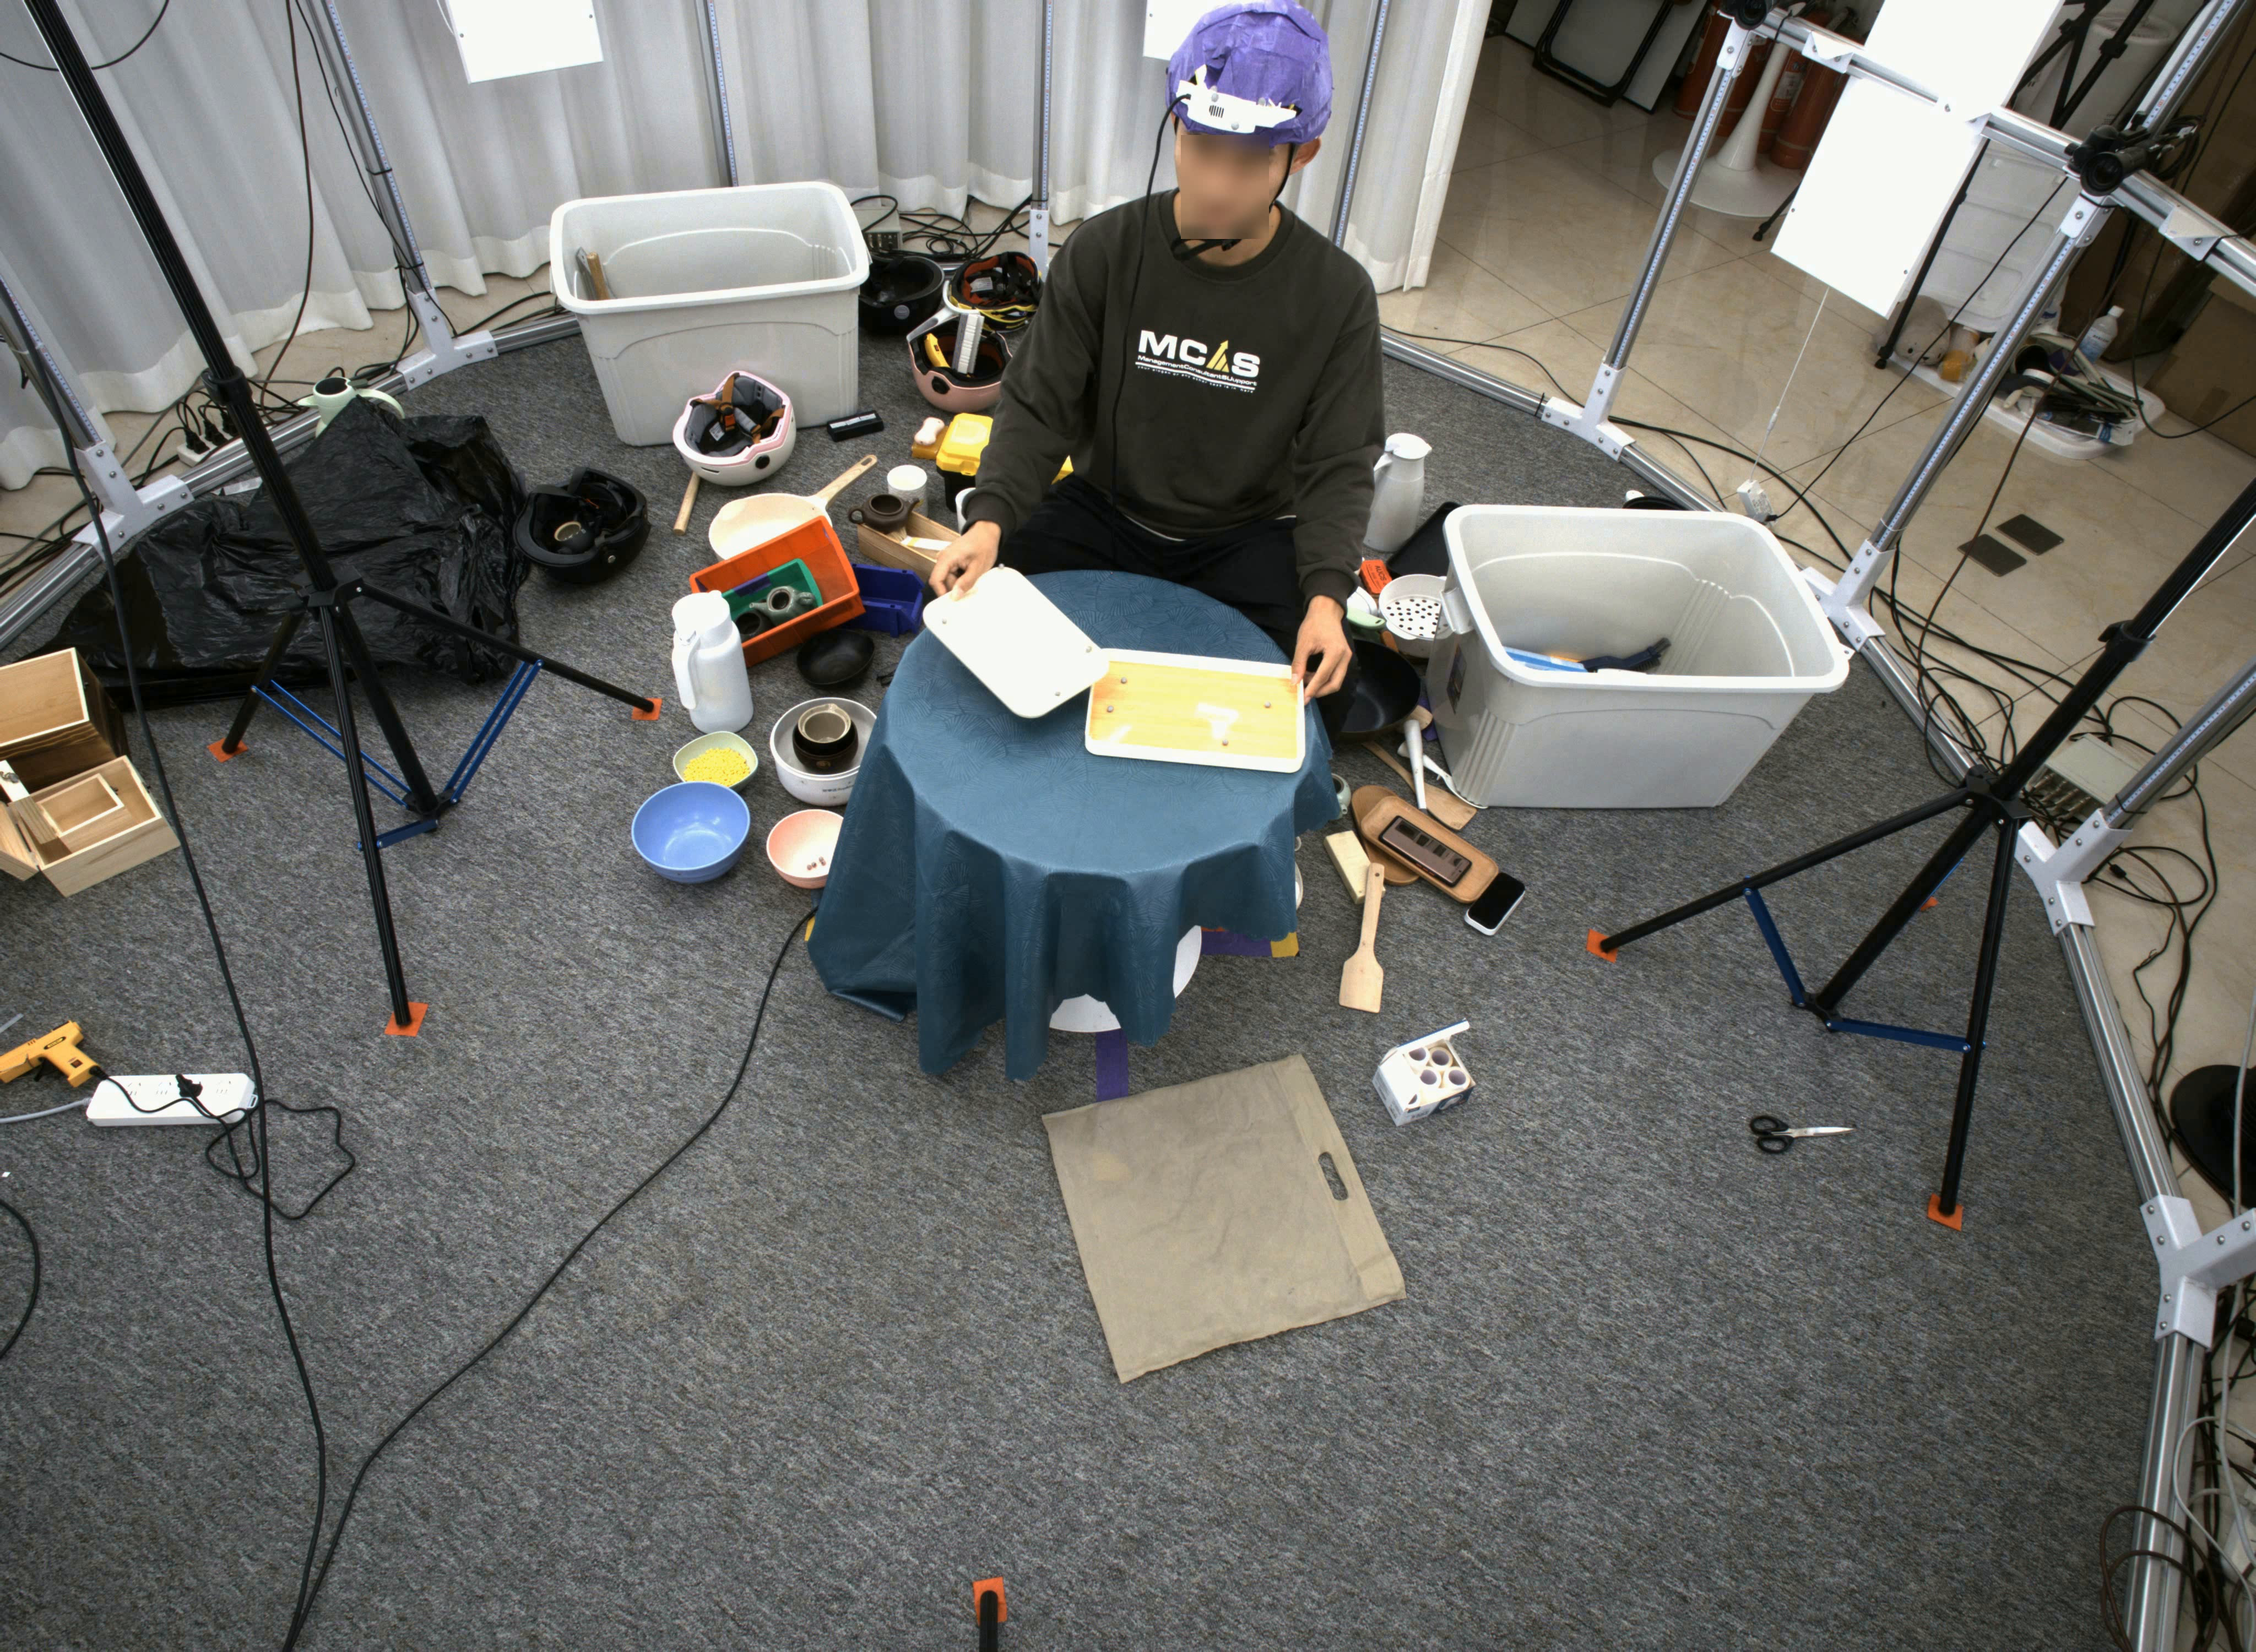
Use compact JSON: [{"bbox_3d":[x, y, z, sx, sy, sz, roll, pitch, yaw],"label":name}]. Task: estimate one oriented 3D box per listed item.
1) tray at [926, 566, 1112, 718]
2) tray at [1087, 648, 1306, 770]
[{"bbox_3d":[-0.151,-0.257,1.786,0.173,0.017,0.242,-35,69,-29],"label":"tray"},{"bbox_3d":[0.097,-0.166,1.799,0.300,0.027,0.196,5,48,0],"label":"tray"}]
